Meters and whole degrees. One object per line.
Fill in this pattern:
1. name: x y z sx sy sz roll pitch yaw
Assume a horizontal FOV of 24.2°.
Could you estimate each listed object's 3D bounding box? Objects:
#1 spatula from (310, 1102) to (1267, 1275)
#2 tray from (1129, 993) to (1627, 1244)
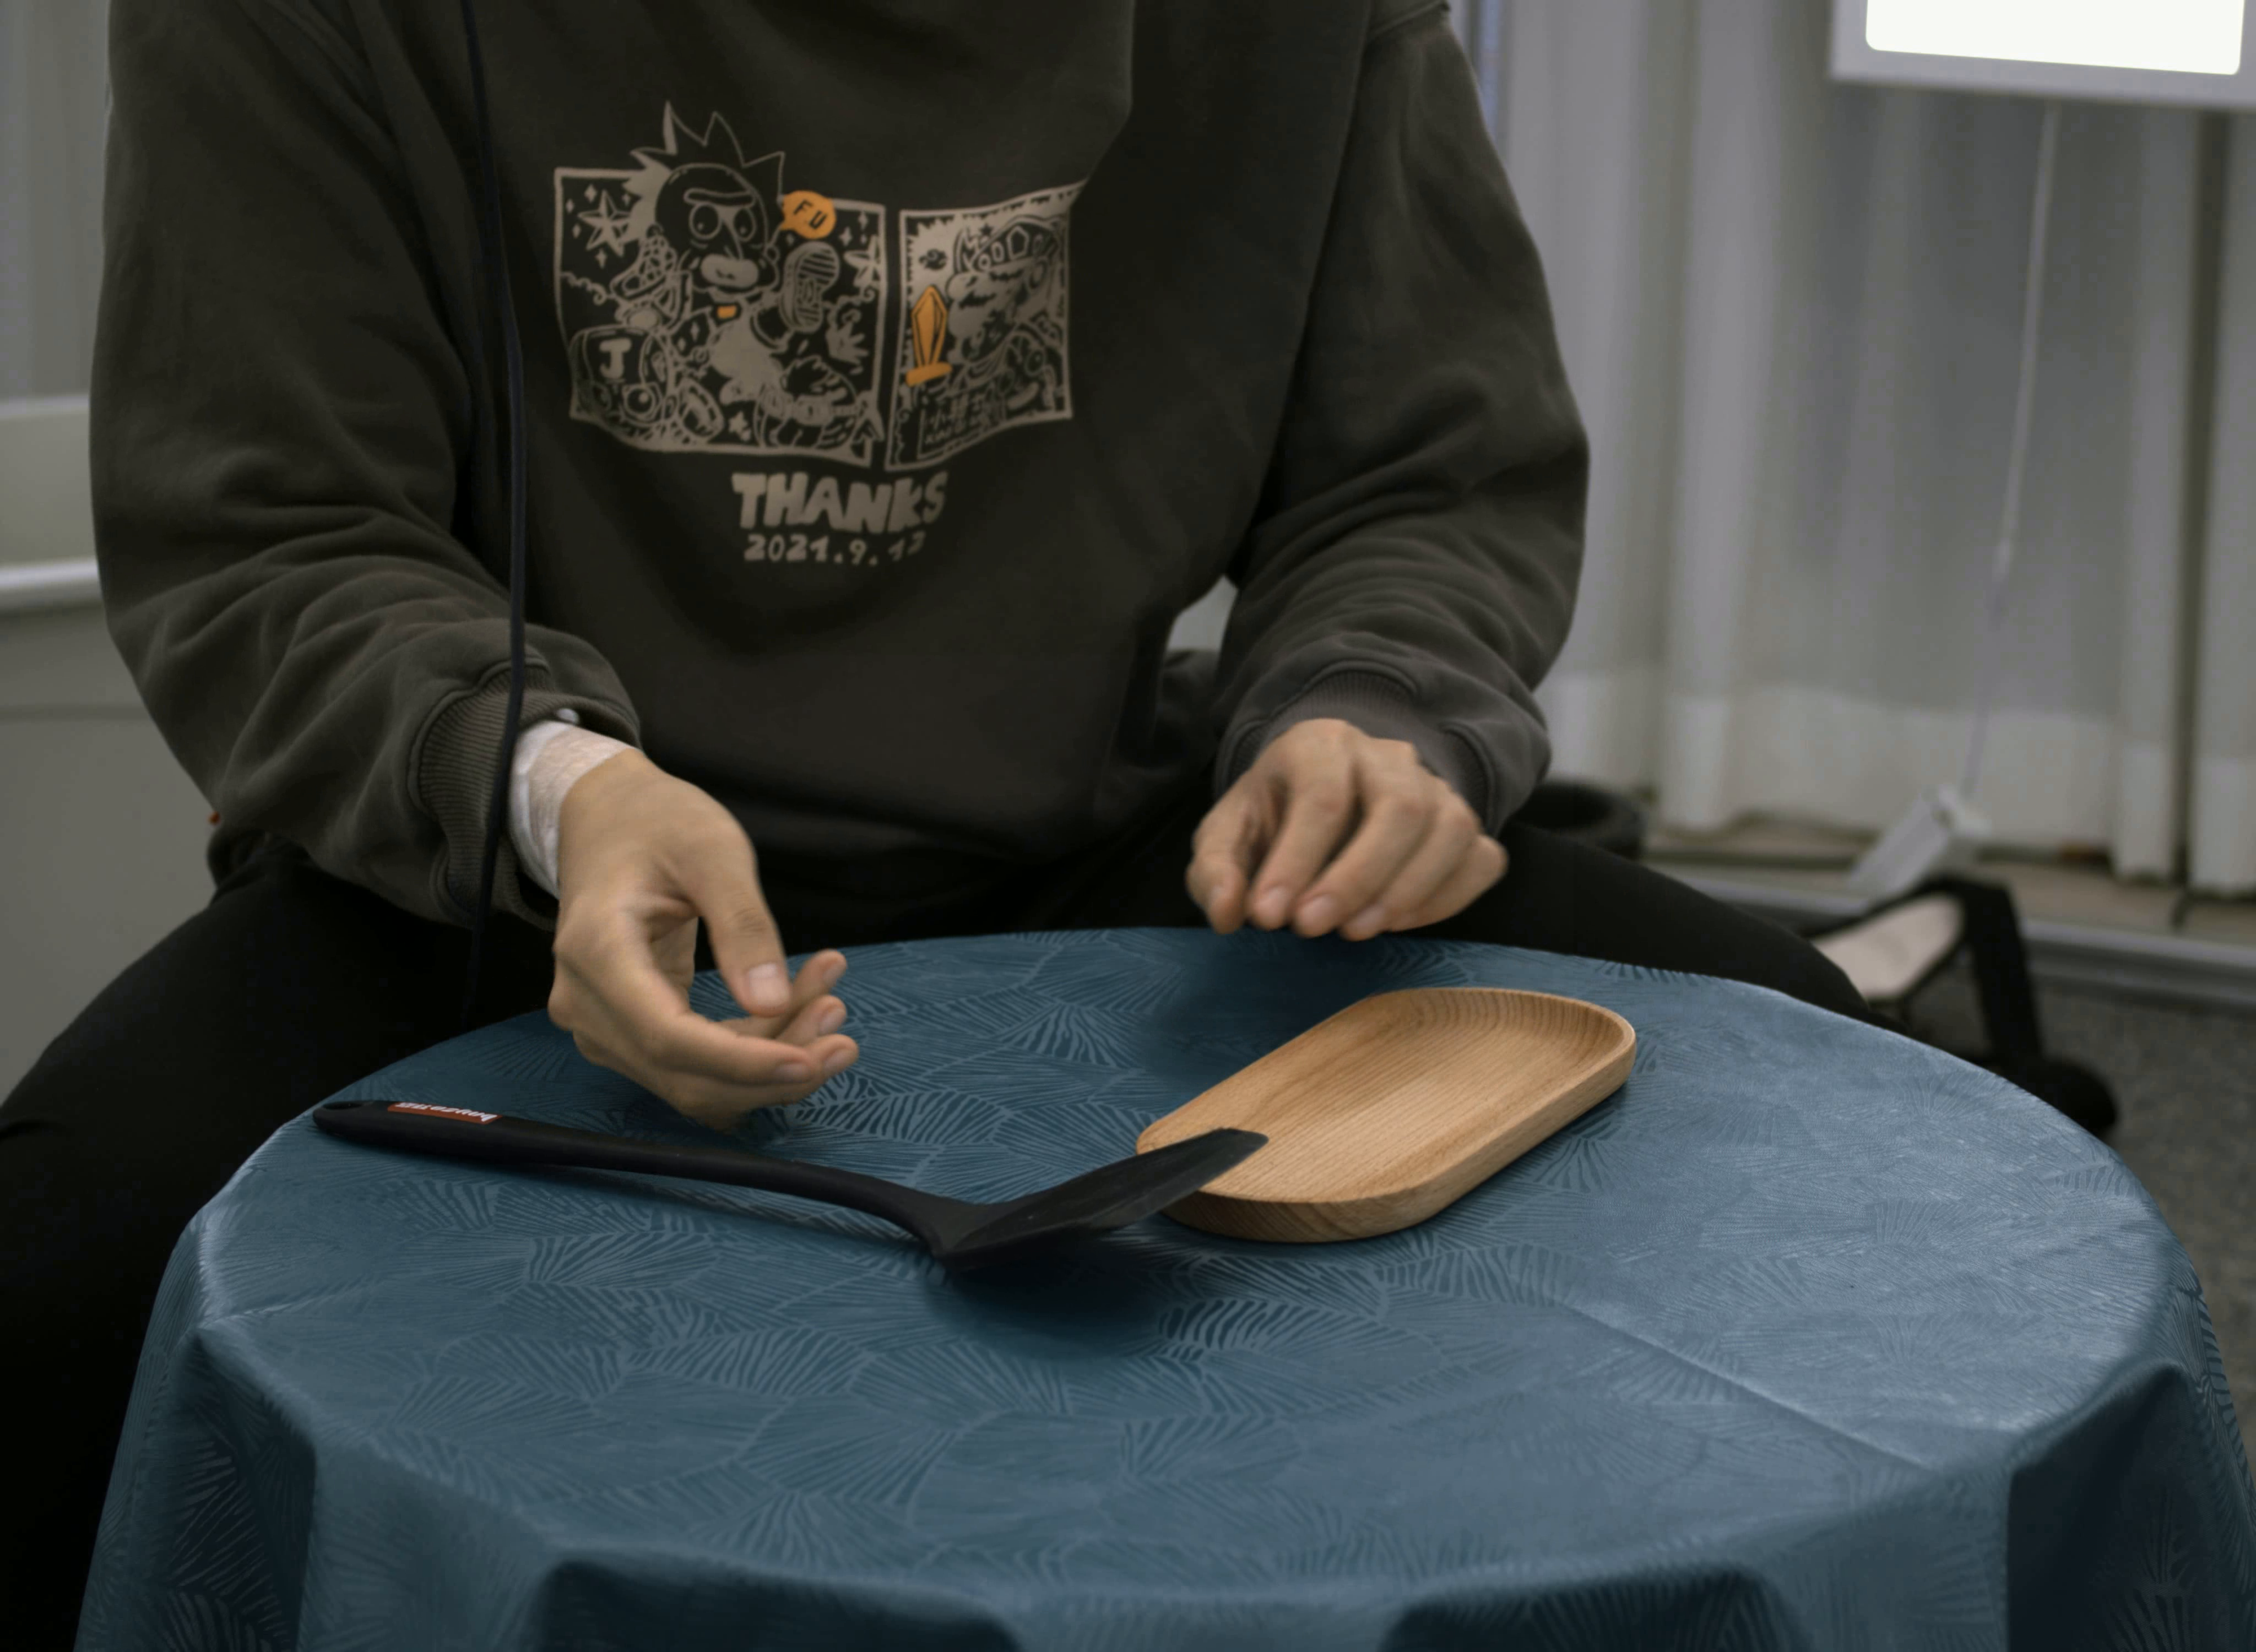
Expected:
1. spatula: -0.117 0.100 1.605 0.322 0.040 0.100 9 16 26
2. tray: 0.082 0.092 1.680 0.100 0.020 0.232 8 18 27
